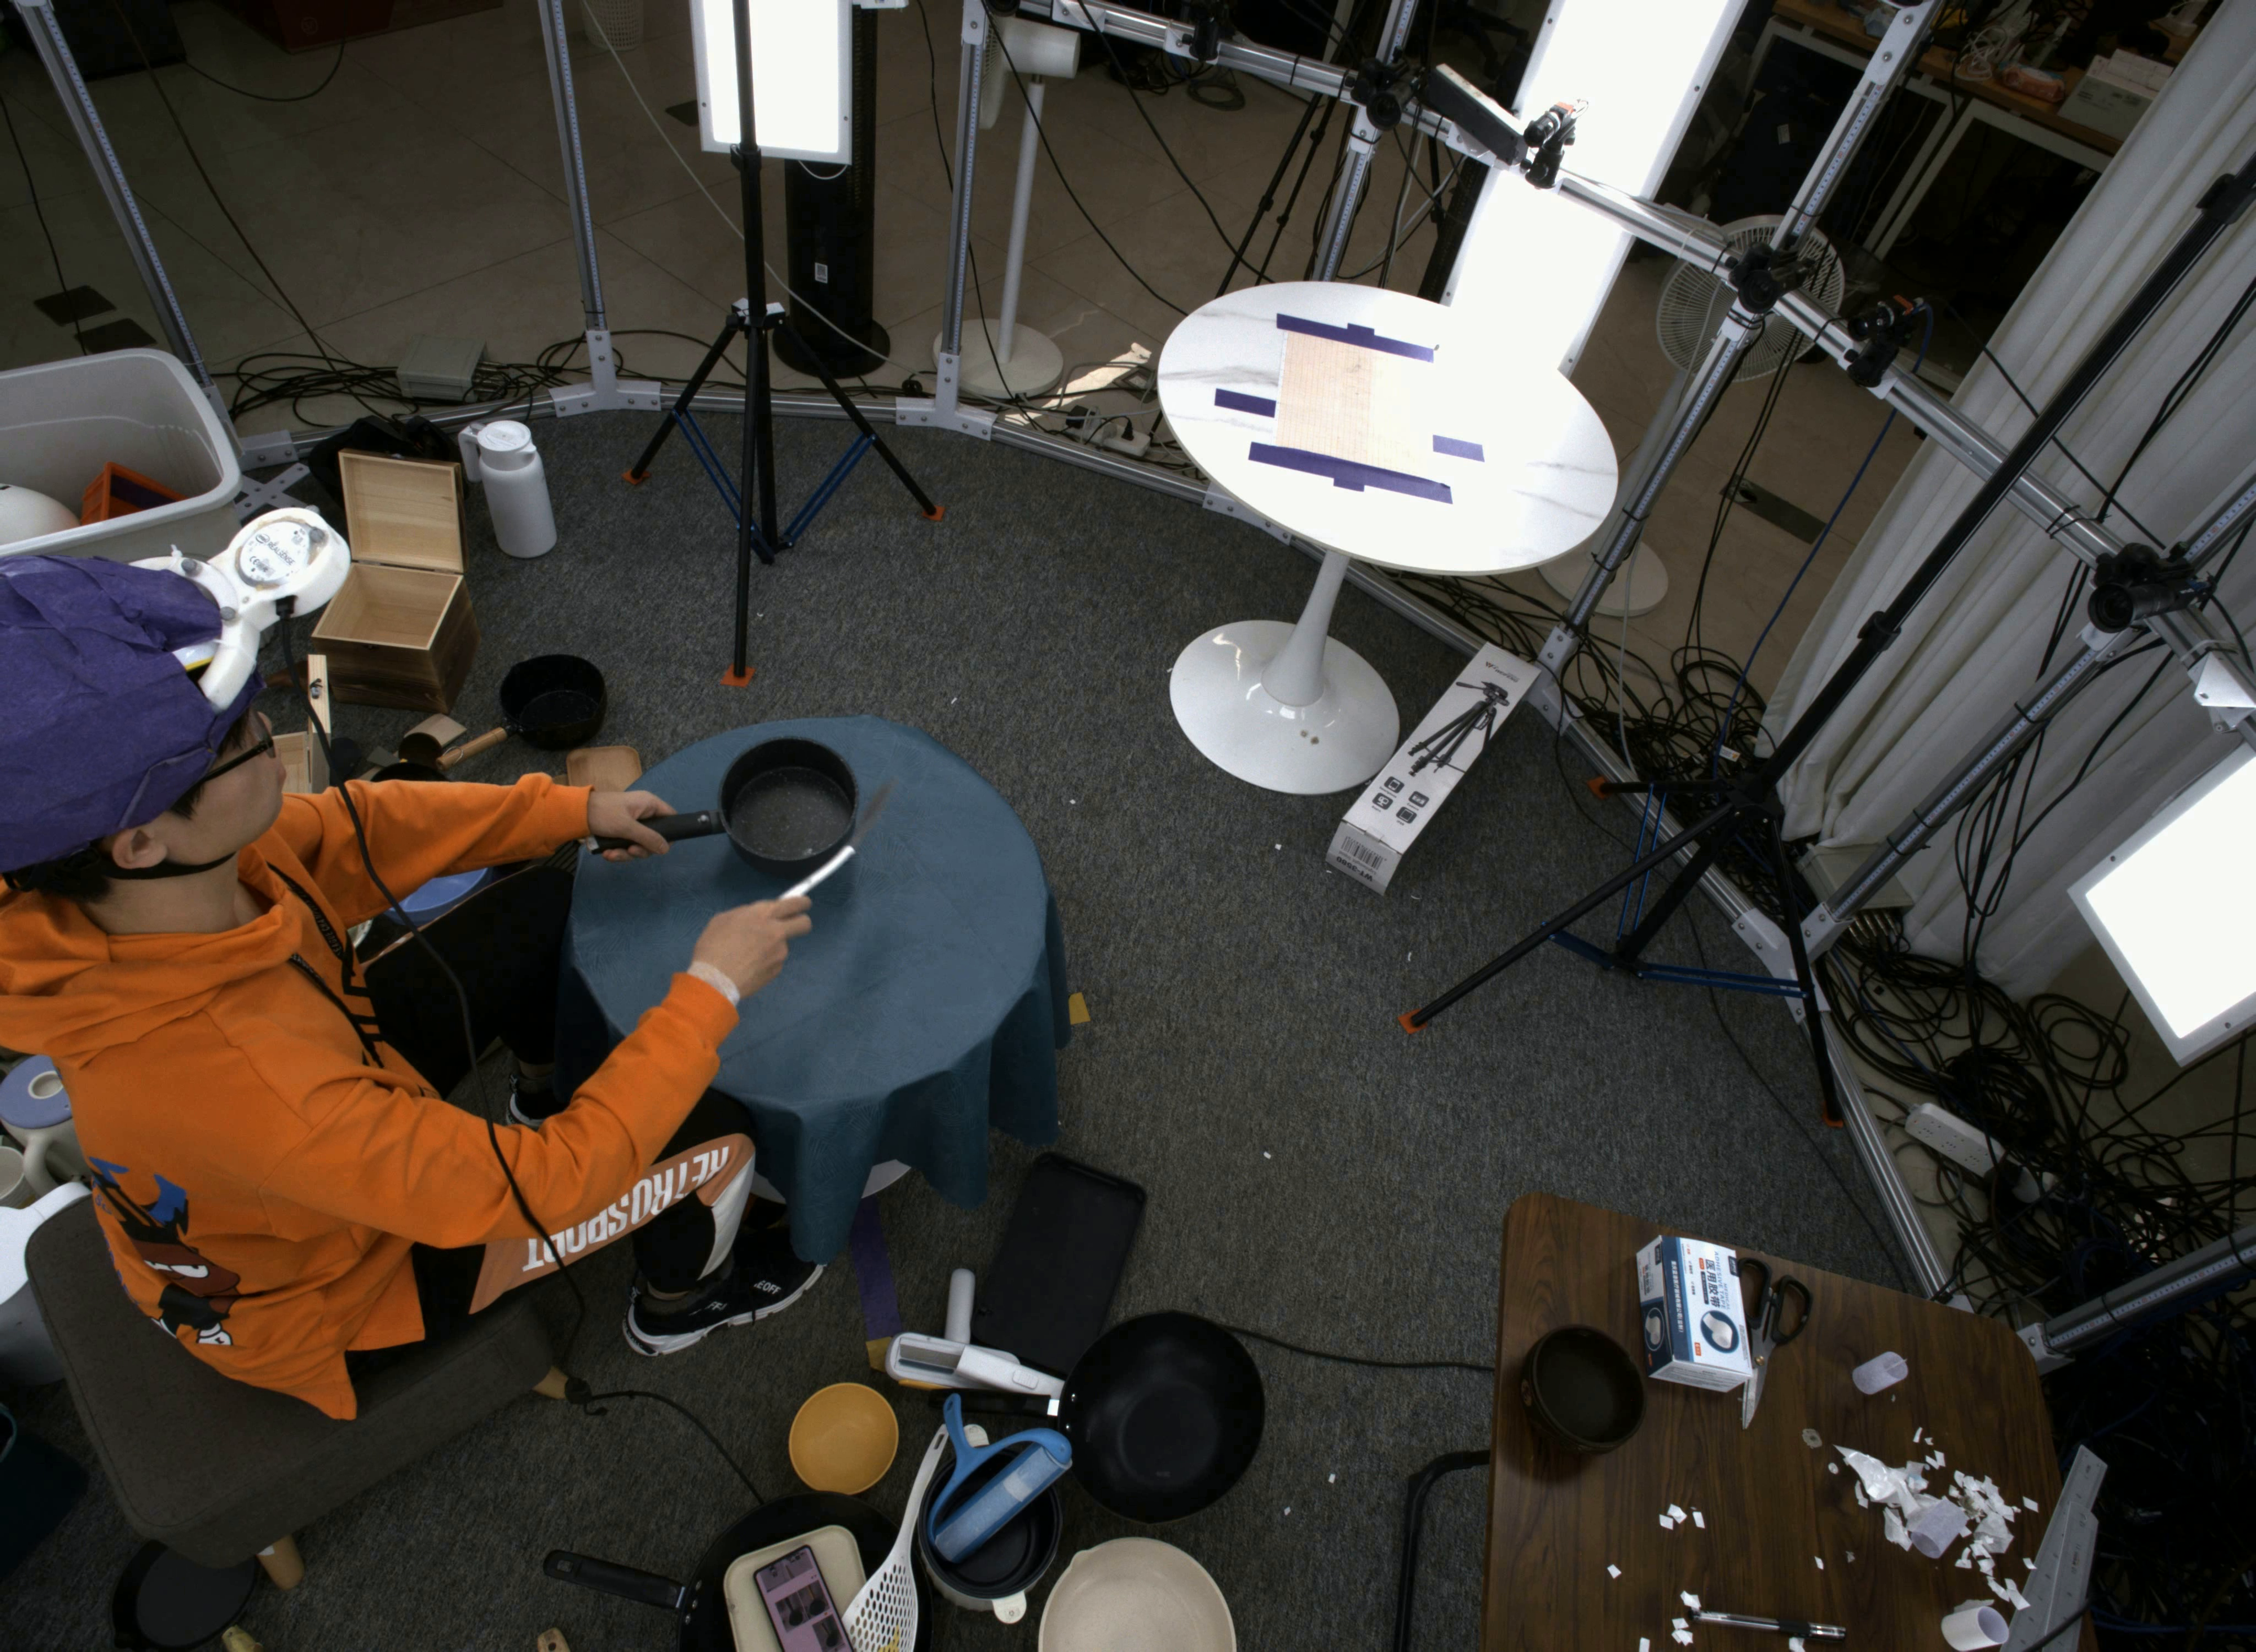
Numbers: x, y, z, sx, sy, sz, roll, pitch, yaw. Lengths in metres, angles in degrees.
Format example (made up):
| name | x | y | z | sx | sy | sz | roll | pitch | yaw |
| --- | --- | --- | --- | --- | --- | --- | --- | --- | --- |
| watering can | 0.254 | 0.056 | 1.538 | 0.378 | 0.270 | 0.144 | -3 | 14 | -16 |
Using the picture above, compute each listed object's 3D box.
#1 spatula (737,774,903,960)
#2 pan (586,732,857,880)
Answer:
| name | x | y | z | sx | sy | sz | roll | pitch | yaw |
| --- | --- | --- | --- | --- | --- | --- | --- | --- | --- |
| spatula | -0.341 | 0.039 | 1.469 | 0.033 | 0.057 | 0.286 | 48 | 49 | -16 |
| pan | -0.498 | -0.008 | 1.587 | 0.330 | 0.087 | 0.170 | -11 | 68 | -20 |
